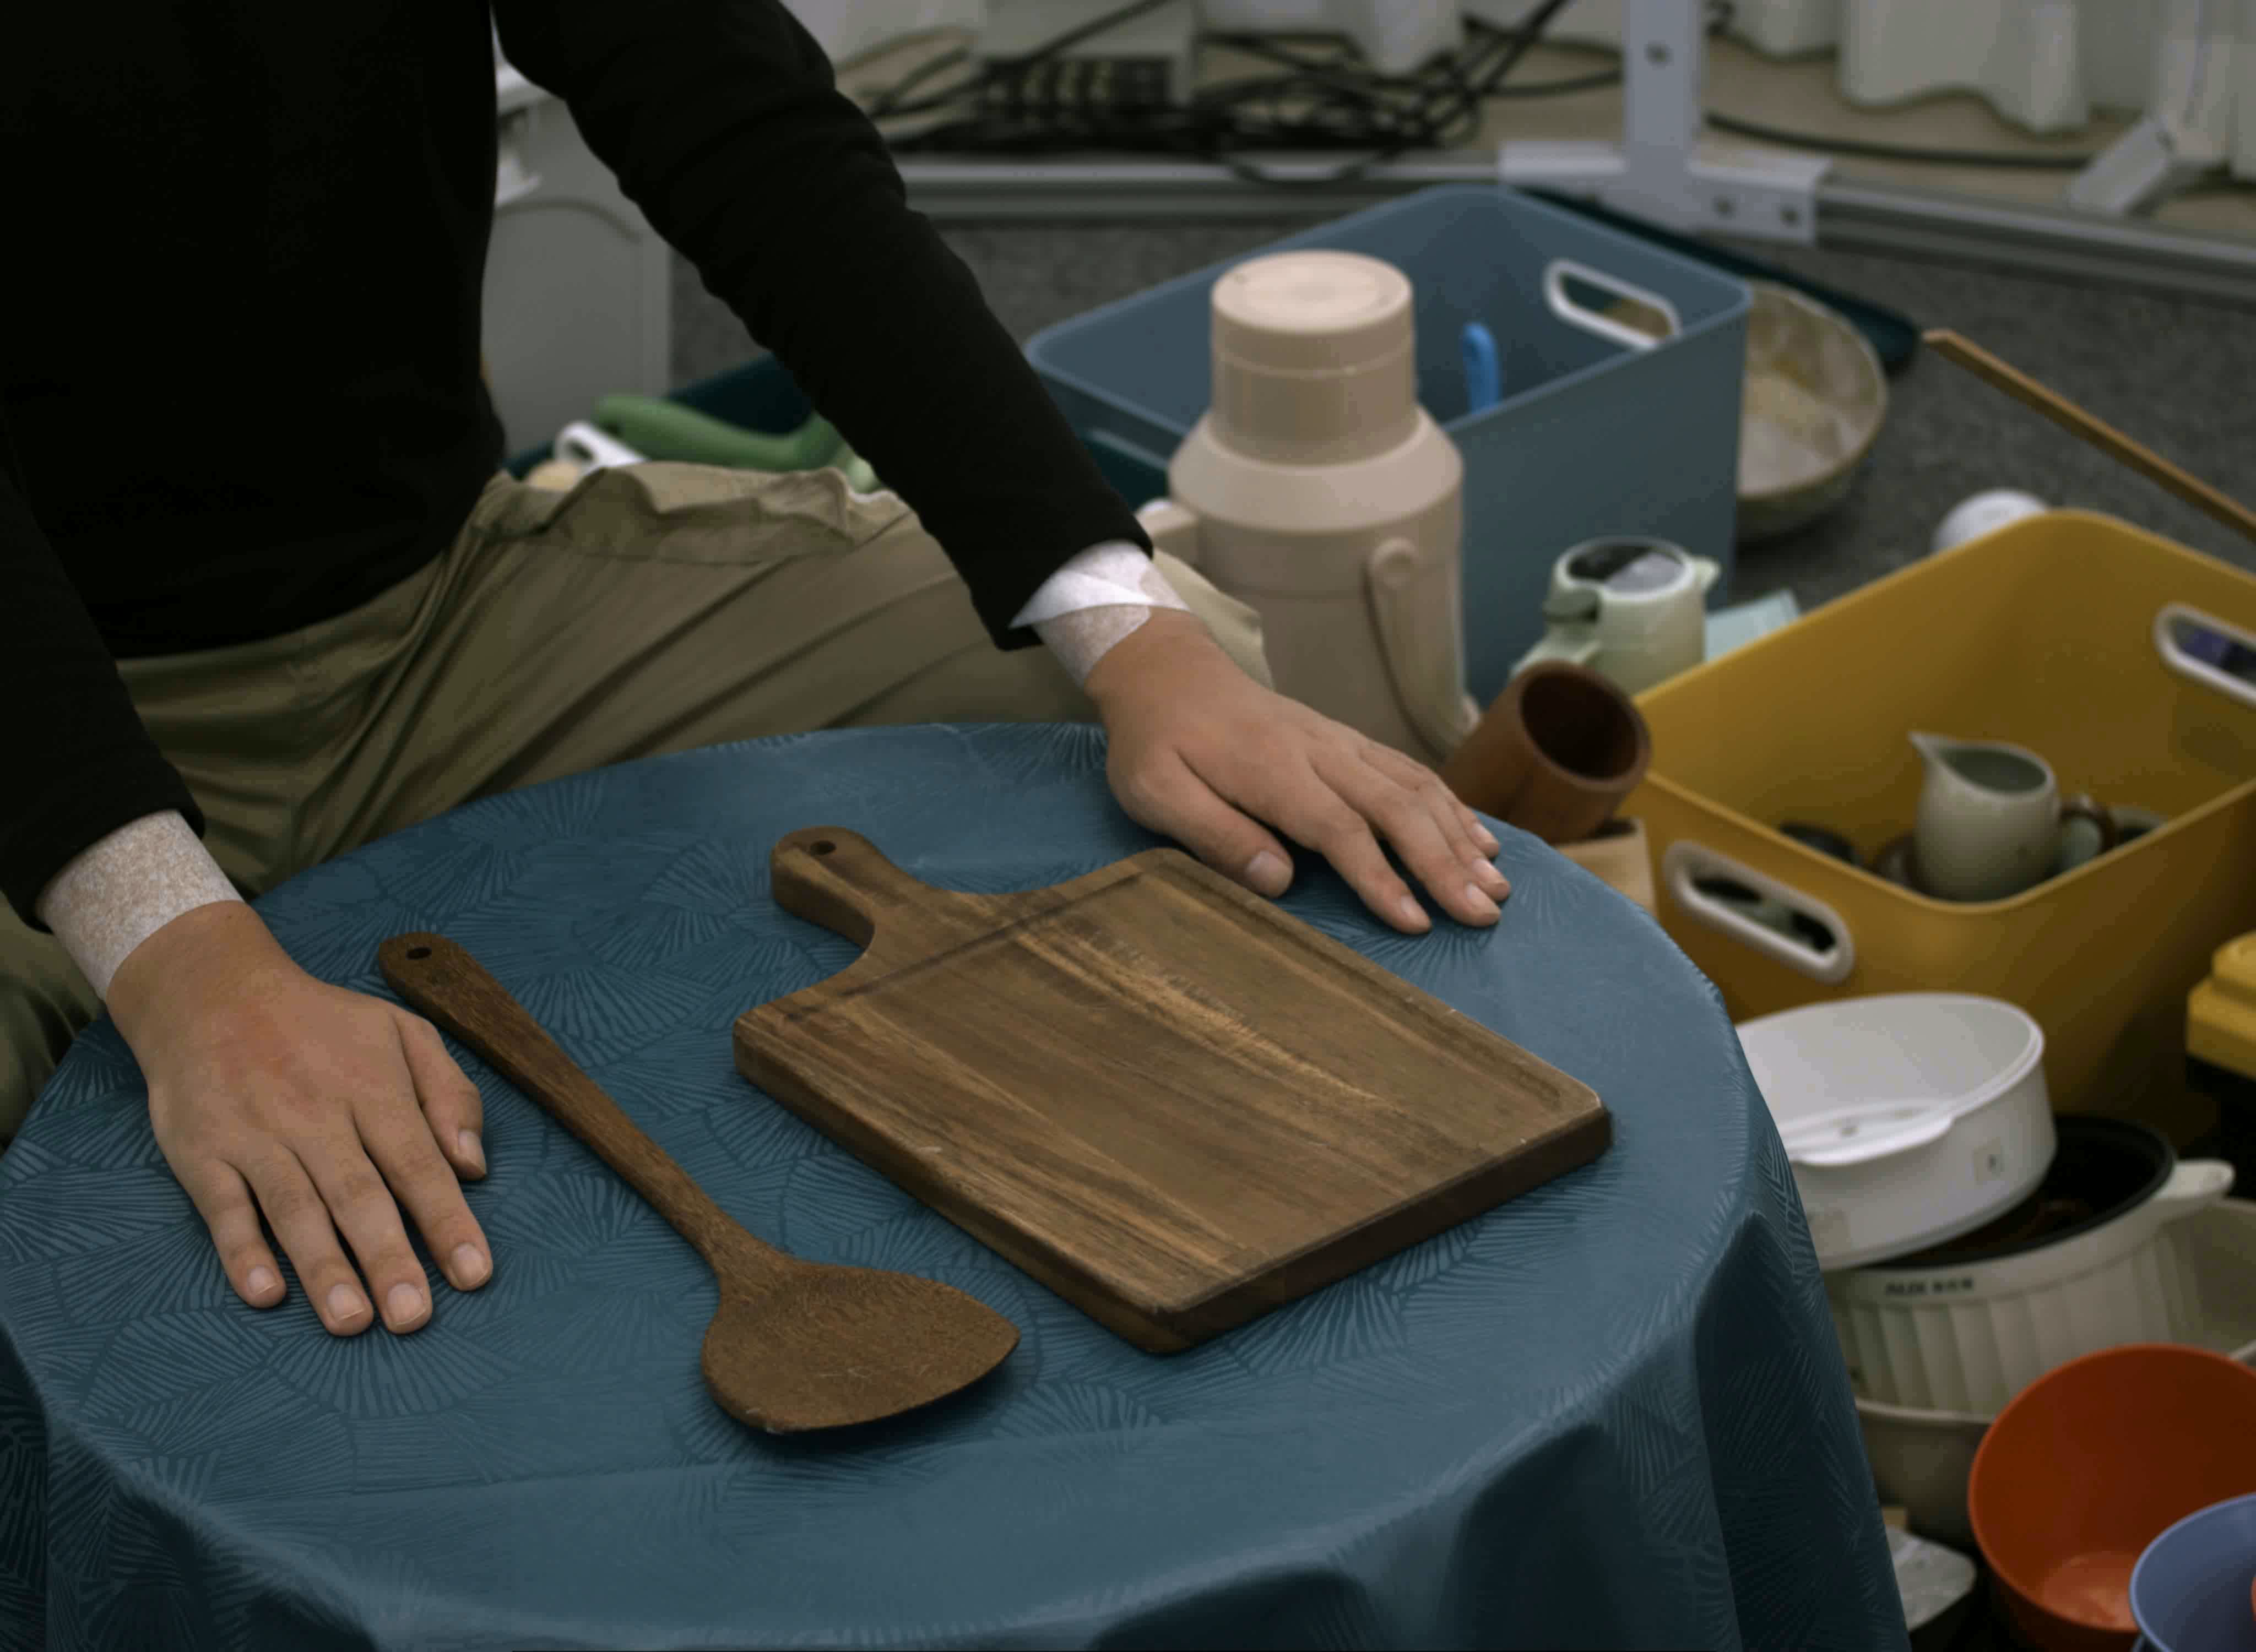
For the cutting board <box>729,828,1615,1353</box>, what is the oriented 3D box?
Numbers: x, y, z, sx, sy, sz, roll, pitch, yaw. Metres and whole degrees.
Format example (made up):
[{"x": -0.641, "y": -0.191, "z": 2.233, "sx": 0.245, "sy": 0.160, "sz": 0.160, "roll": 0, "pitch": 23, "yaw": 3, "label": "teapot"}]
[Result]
[{"x": -0.018, "y": 0.070, "z": 1.940, "sx": 0.203, "sy": 0.023, "sz": 0.352, "roll": -21, "pitch": 33, "yaw": -32, "label": "cutting board"}]

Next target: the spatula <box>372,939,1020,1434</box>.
[{"x": -0.165, "y": 0.112, "z": 1.881, "sx": 0.097, "sy": 0.015, "sz": 0.387, "roll": -17, "pitch": 30, "yaw": -27, "label": "spatula"}]
